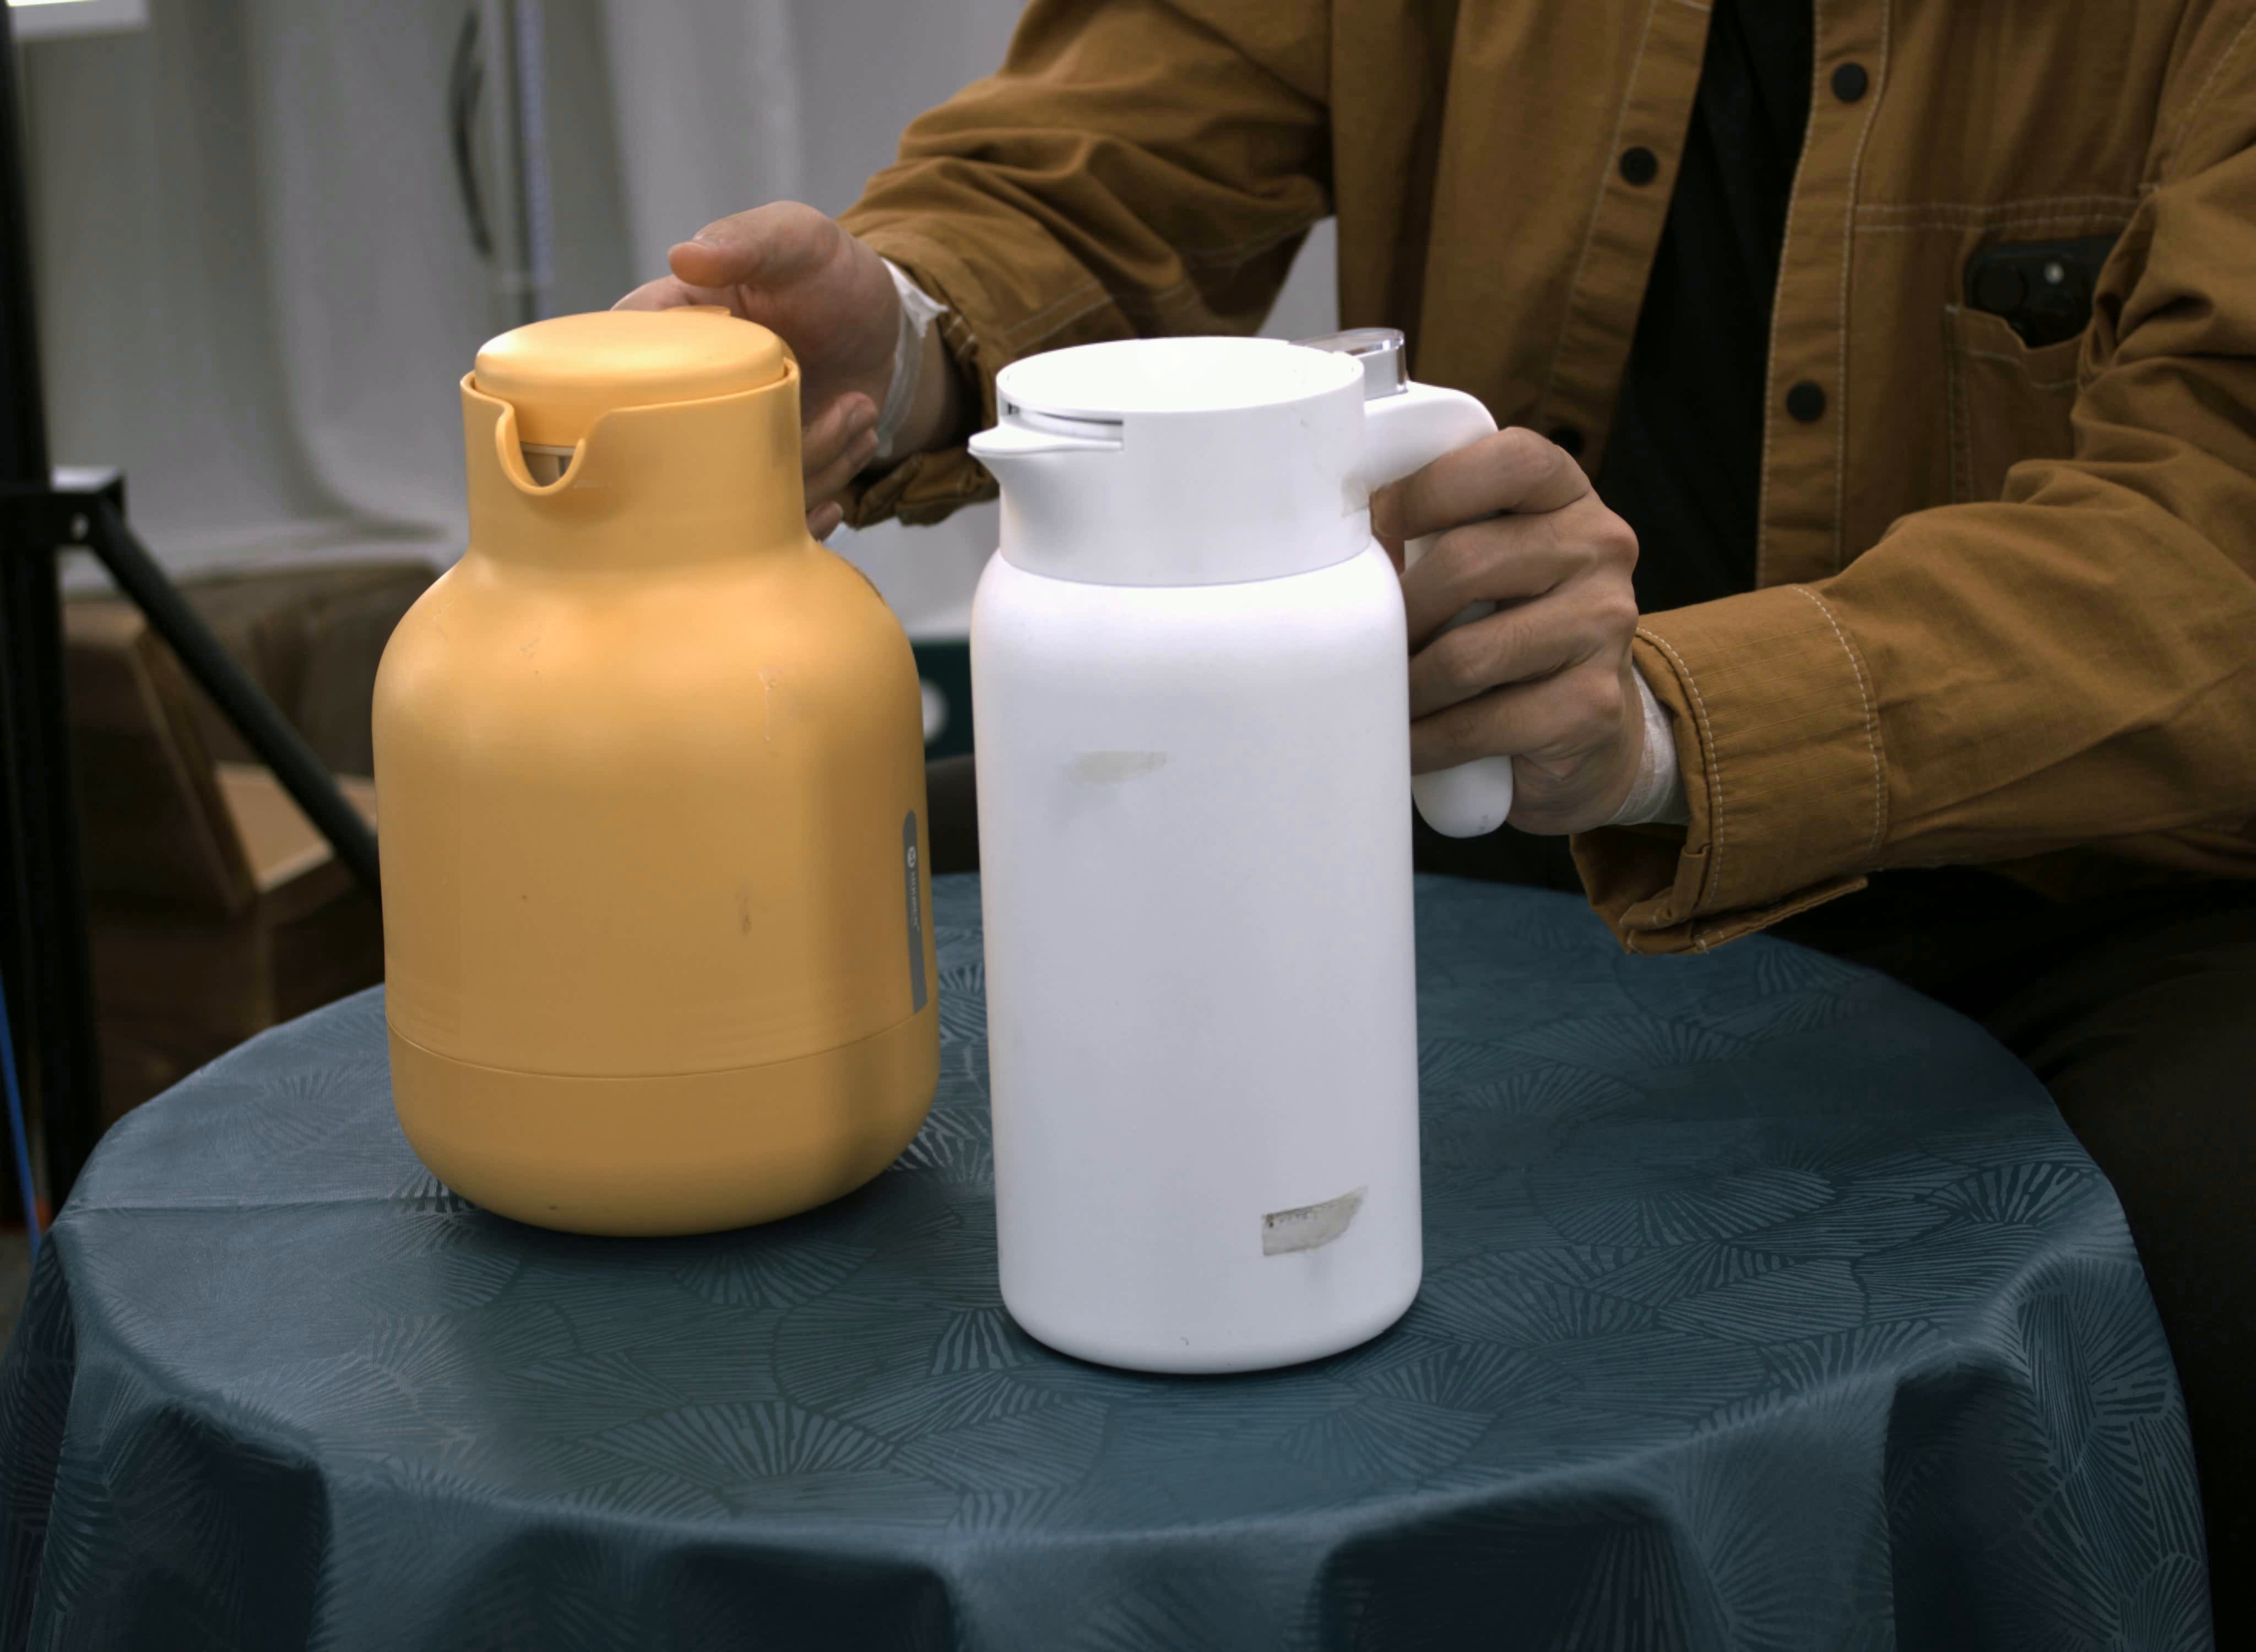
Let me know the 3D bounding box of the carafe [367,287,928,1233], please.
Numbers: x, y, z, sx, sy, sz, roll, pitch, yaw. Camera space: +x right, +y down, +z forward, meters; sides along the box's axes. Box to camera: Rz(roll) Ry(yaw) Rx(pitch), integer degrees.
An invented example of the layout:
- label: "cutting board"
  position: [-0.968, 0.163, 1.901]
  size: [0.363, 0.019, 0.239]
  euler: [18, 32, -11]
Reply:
- label: "carafe"
  position: [-0.133, -0.027, 1.573]
  size: [0.165, 0.260, 0.200]
  euler: [6, 18, 18]

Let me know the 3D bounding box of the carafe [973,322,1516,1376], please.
- label: "carafe"
  position: [0.032, 0.002, 1.436]
  size: [0.169, 0.269, 0.126]
  euler: [-13, 16, -36]
